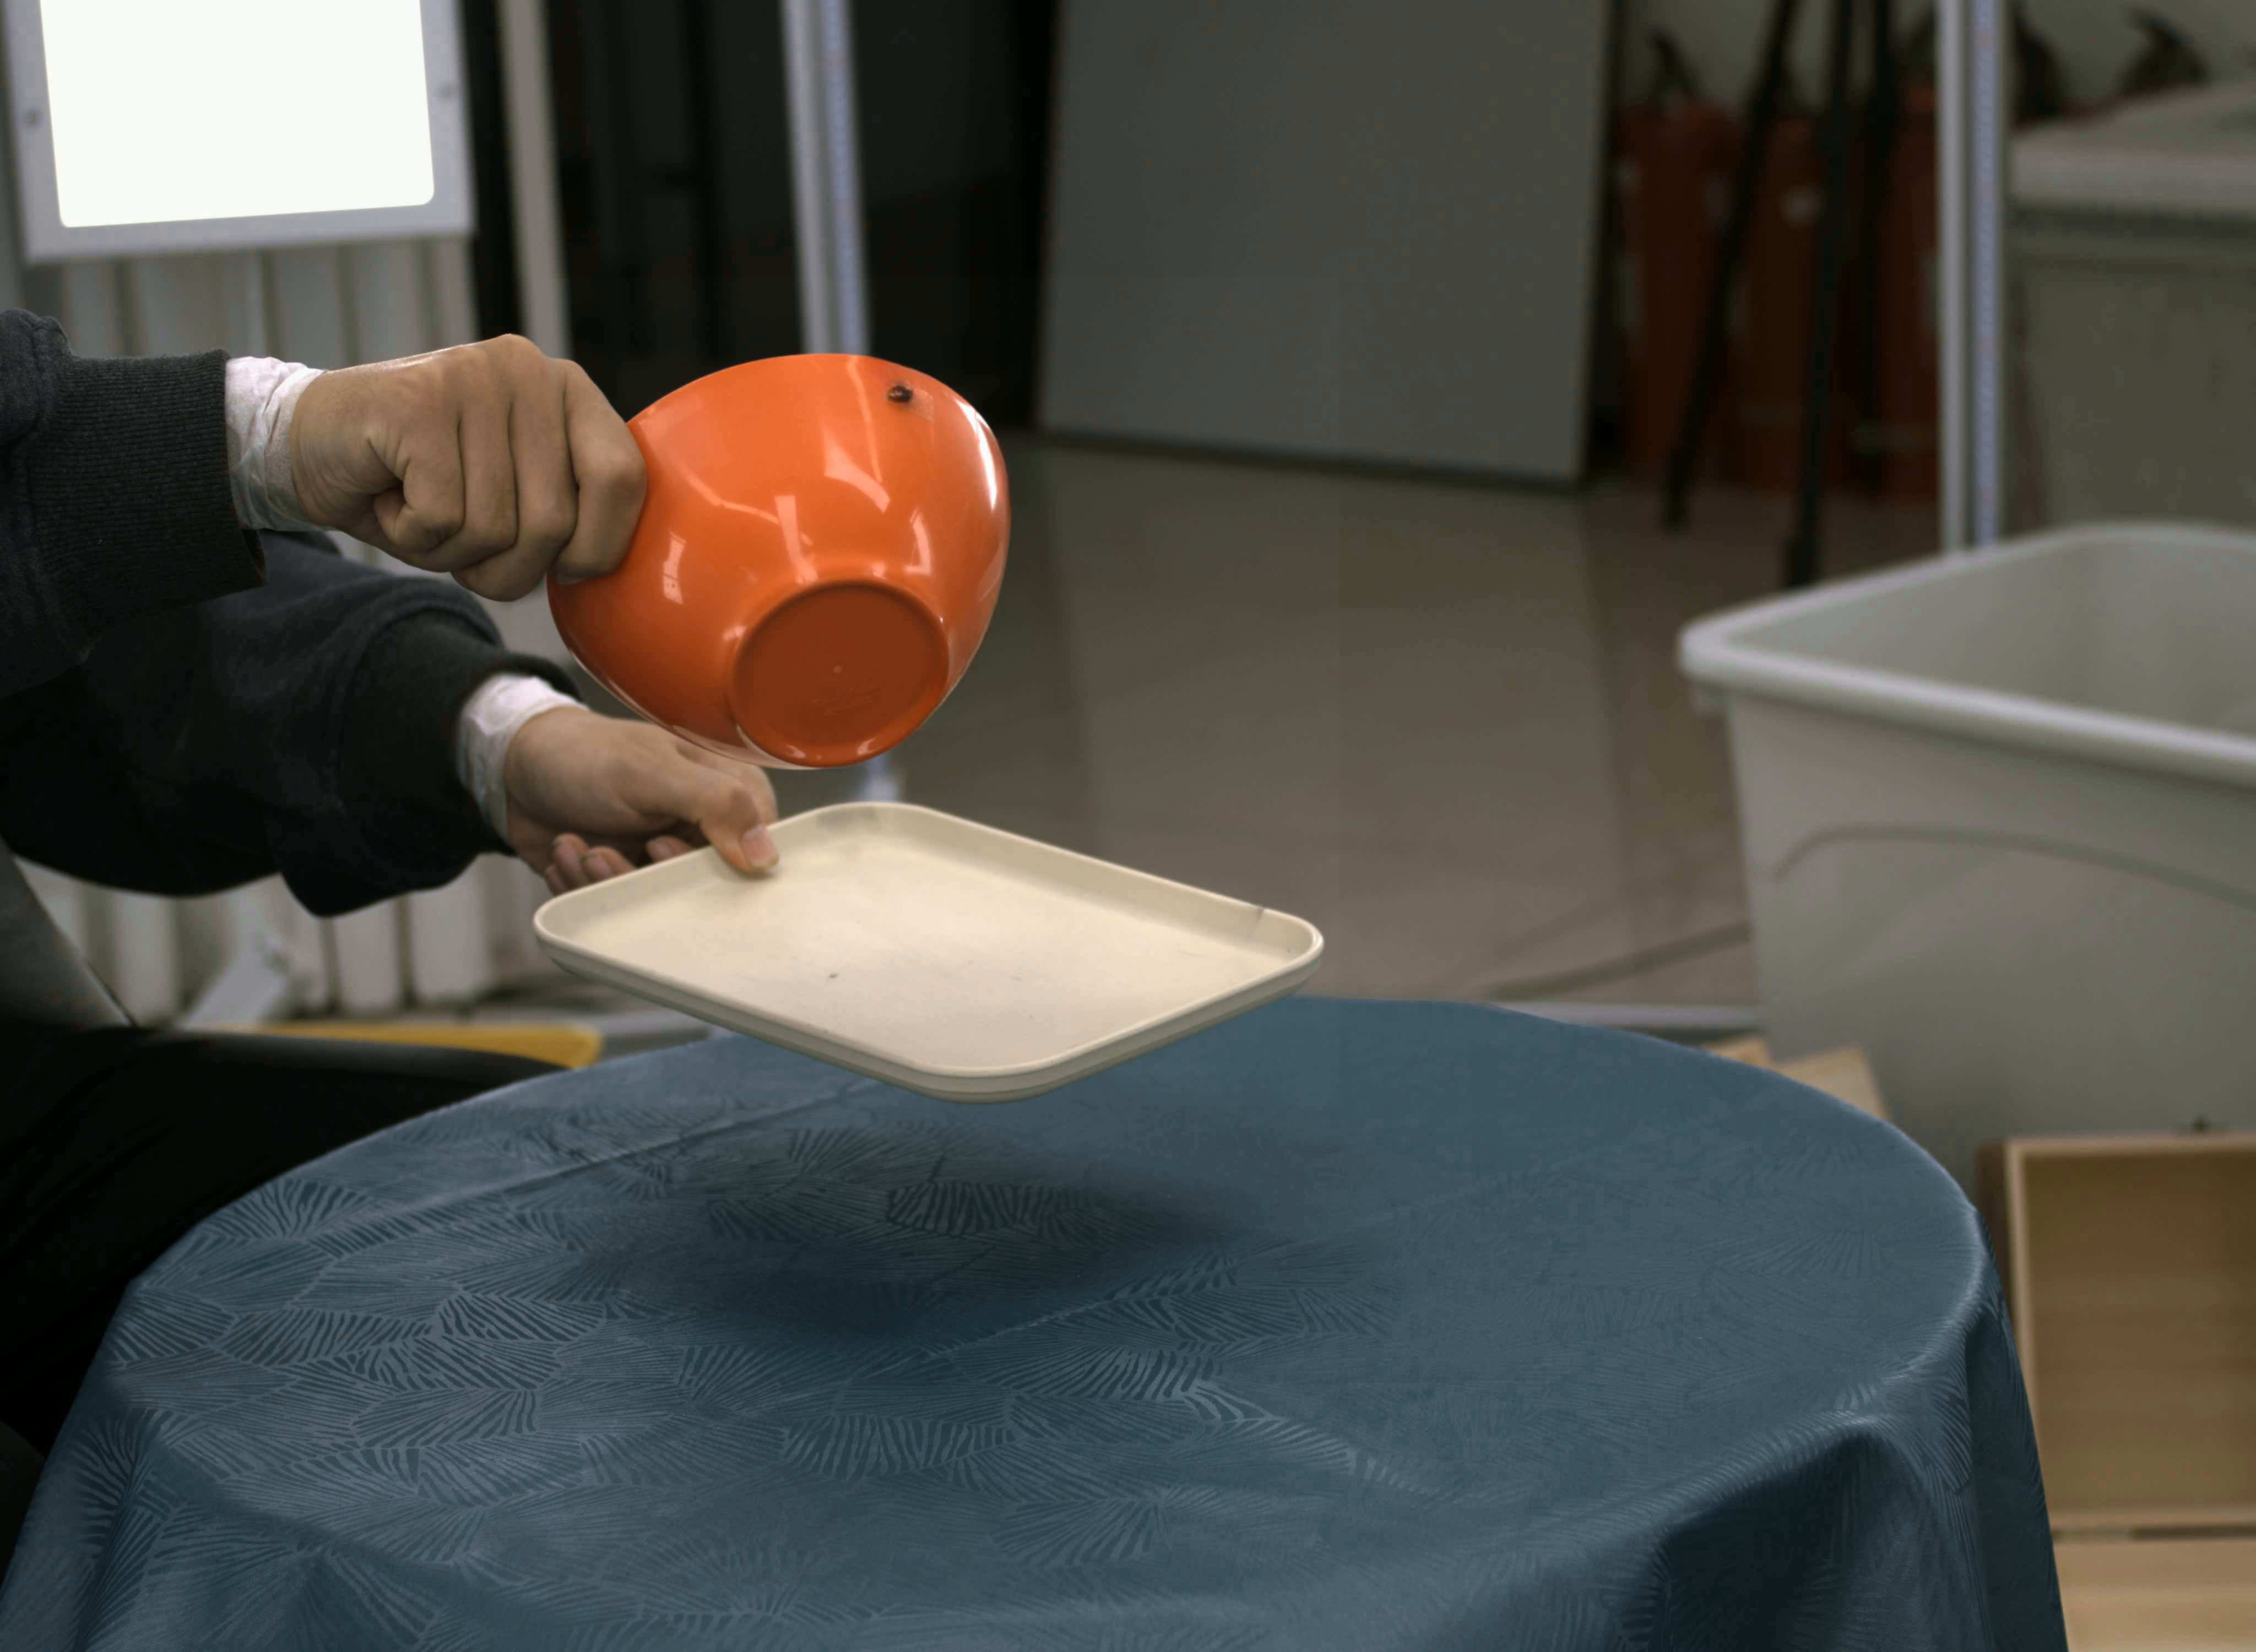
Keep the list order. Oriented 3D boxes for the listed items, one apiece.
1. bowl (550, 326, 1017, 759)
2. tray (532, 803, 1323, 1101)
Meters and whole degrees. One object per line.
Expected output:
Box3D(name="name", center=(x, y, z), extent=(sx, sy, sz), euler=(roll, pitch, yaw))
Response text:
Box3D(name="bowl", center=(-0.094, -0.068, 1.613), extent=(0.145, 0.149, 0.106), euler=(-6, 33, -12))
Box3D(name="tray", center=(-0.066, 0.039, 1.752), extent=(0.168, 0.017, 0.242), euler=(-20, 24, -40))
